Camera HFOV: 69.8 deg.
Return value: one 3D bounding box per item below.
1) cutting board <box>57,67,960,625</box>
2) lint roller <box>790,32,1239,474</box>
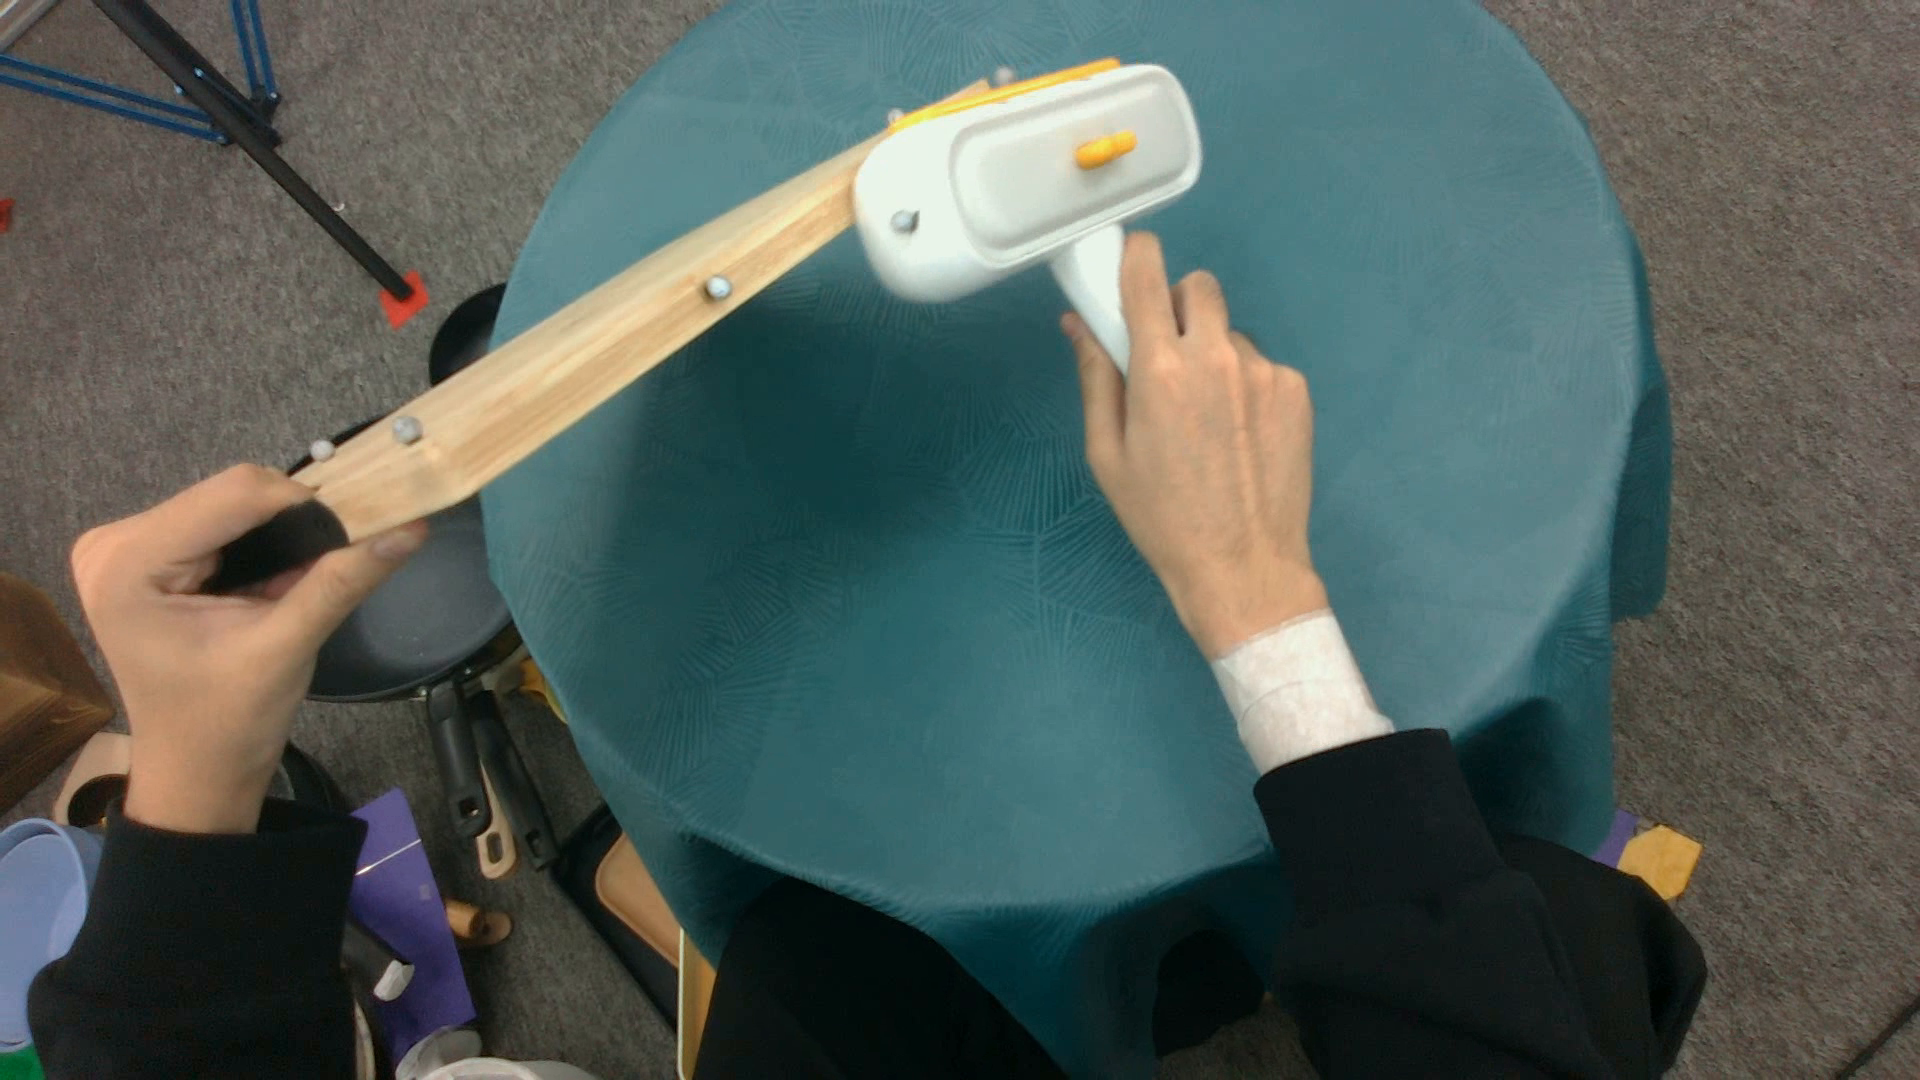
[{"bbox_3d":[-0.164,-0.089,0.566,0.250,0.023,0.350,-14,25,37],"label":"cutting board"},{"bbox_3d":[0.043,-0.104,0.562,0.074,0.192,0.194,-22,16,40],"label":"lint roller"}]
